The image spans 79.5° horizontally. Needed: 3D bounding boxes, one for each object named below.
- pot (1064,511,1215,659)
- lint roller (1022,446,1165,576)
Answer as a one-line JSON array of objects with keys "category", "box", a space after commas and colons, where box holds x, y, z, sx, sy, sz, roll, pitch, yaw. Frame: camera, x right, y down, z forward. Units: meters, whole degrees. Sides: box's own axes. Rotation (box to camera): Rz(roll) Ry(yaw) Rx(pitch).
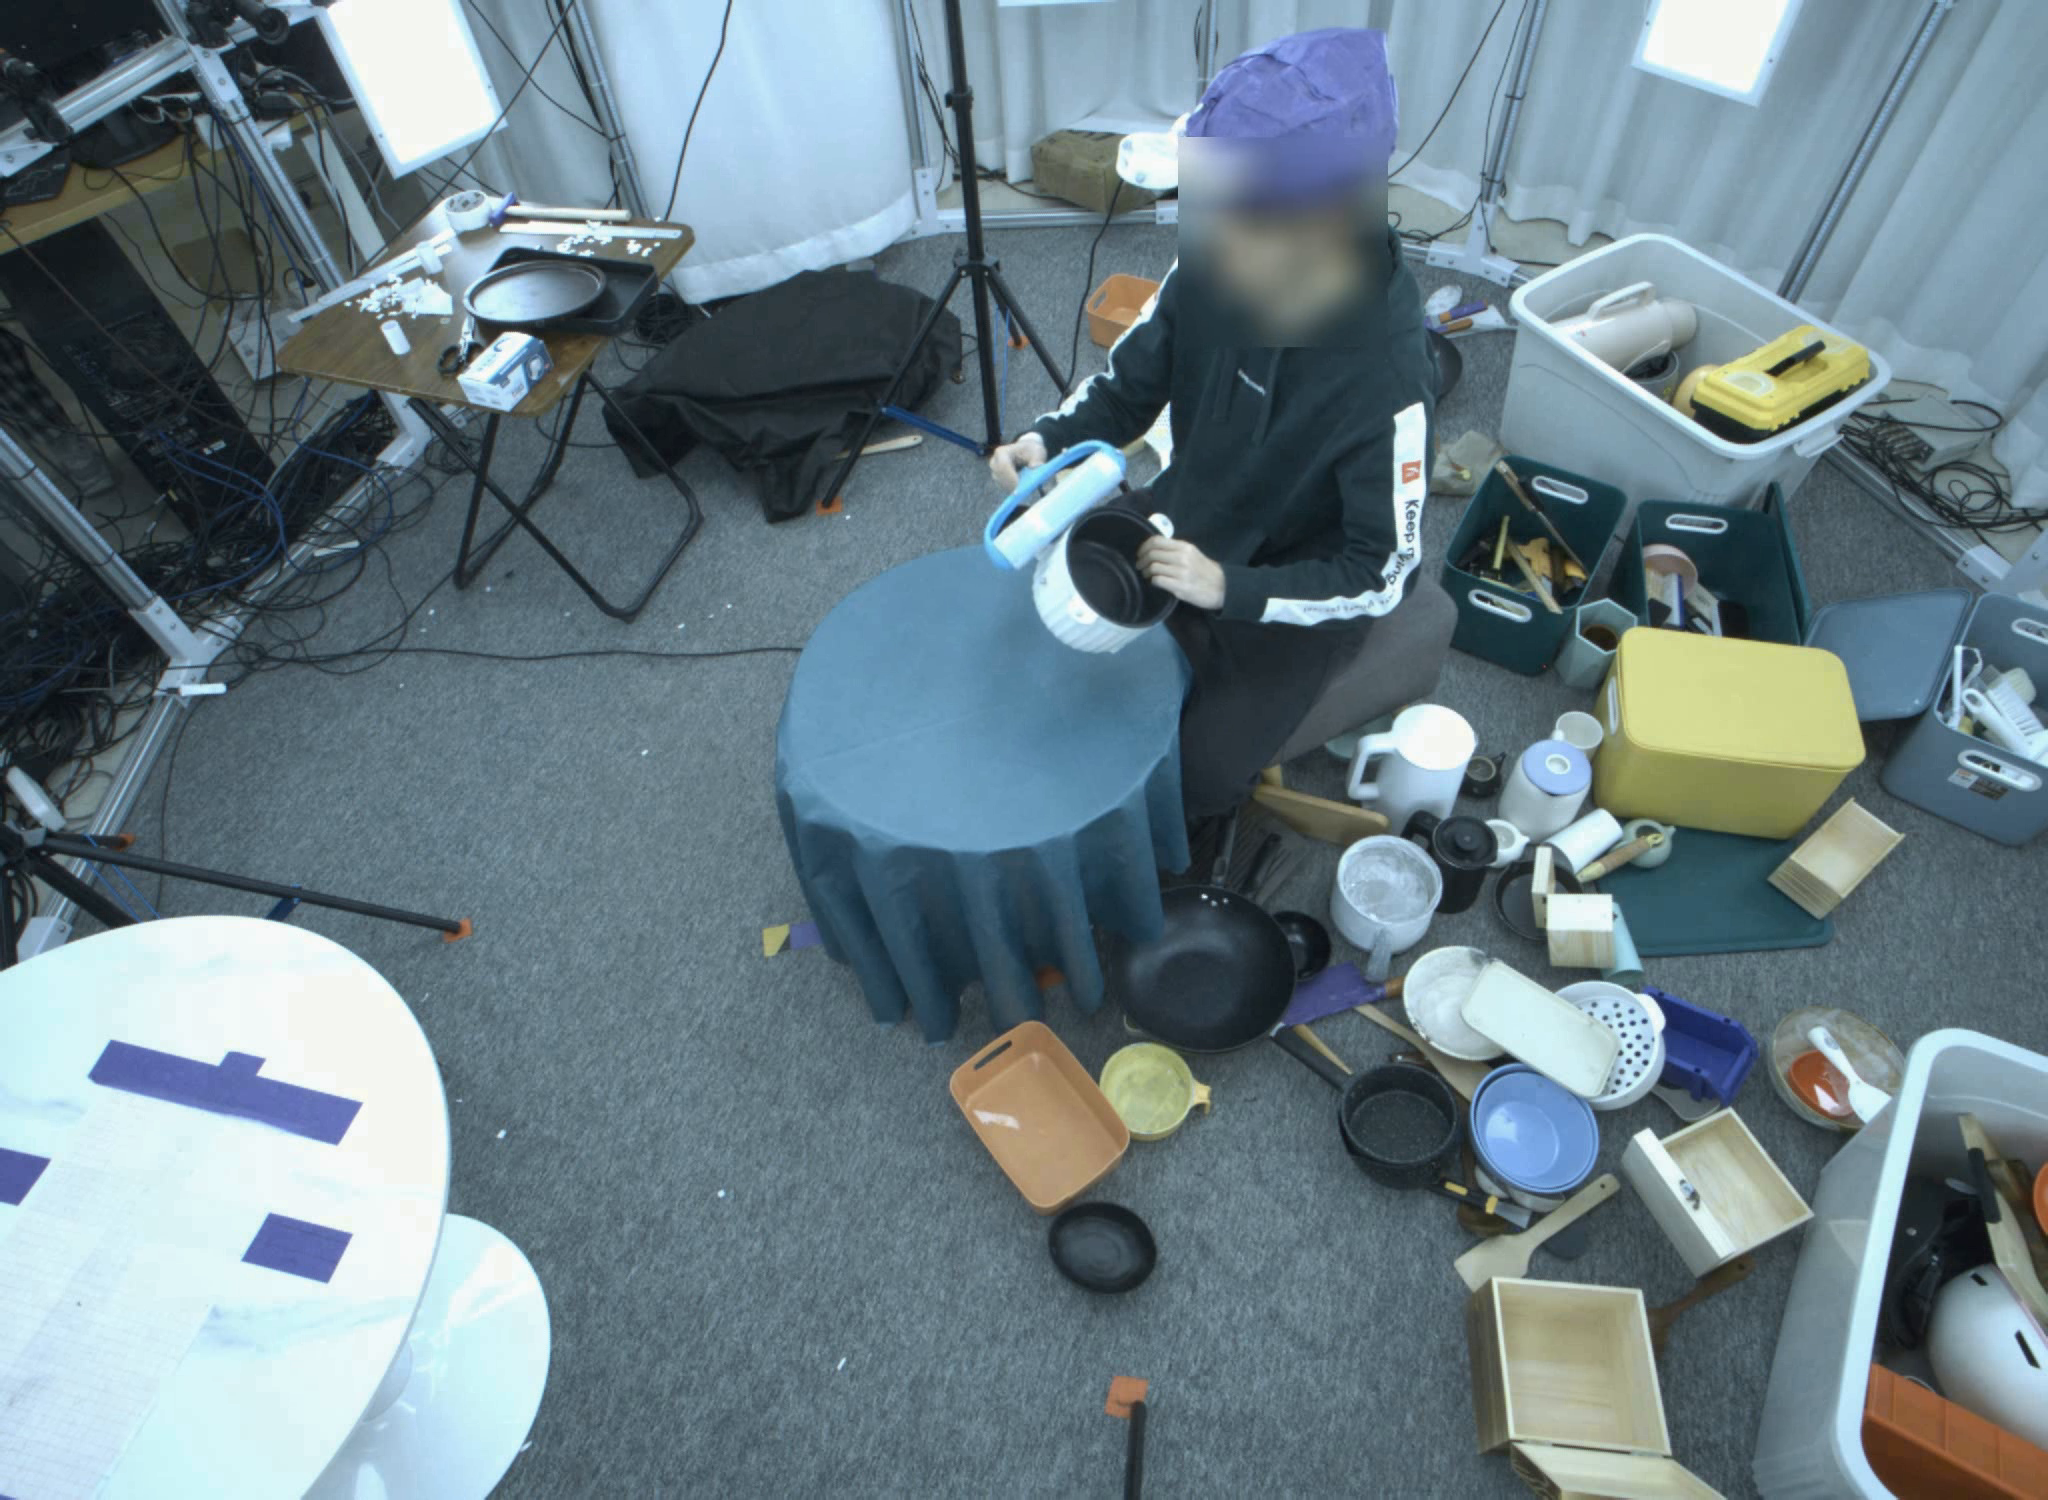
[{"category": "pot", "box": [0.147, -0.224, 1.704, 0.192, 0.140, 0.241, 48, 58, -12]}, {"category": "lint roller", "box": [0.070, -0.352, 1.695, 0.228, 0.069, 0.176, -43, 46, 4]}]
